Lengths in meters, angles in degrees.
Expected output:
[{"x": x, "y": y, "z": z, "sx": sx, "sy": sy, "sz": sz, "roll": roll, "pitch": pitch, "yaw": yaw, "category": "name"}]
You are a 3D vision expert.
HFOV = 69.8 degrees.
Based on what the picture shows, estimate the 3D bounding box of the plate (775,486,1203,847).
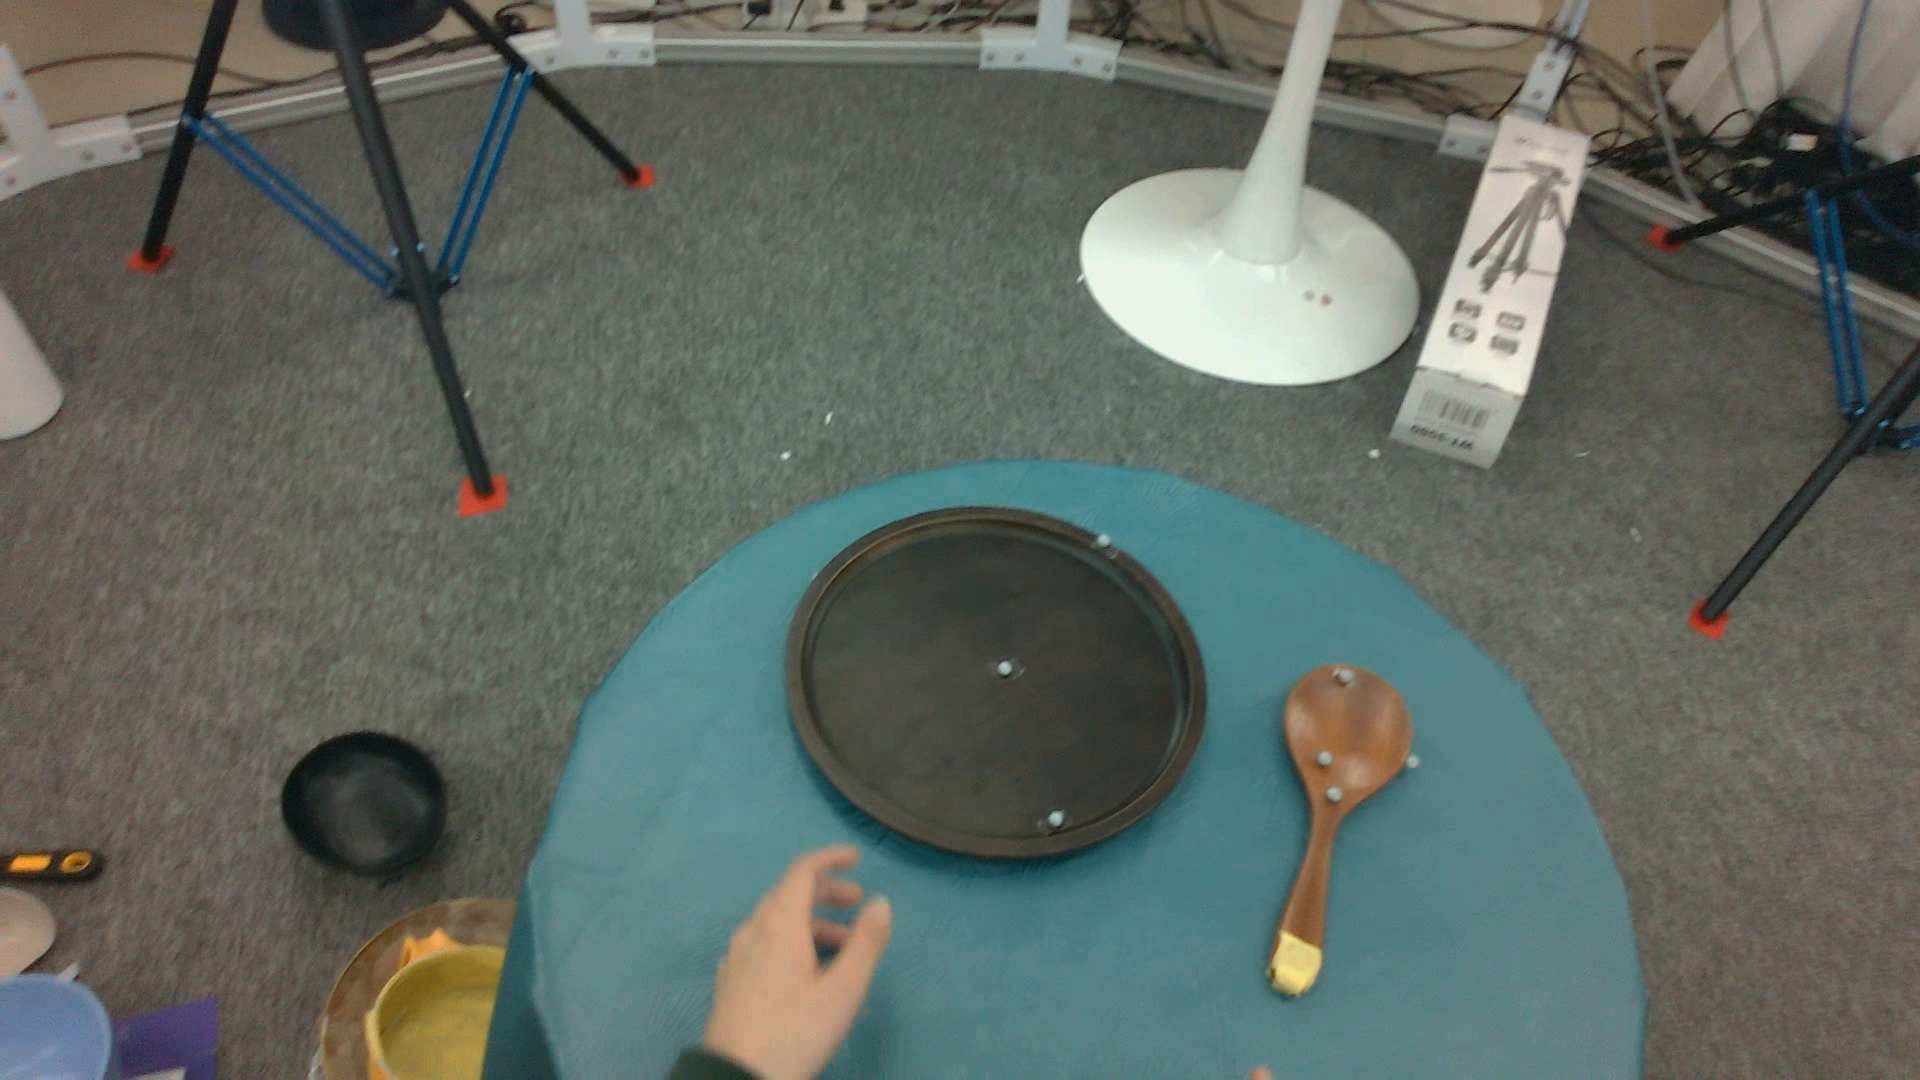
[{"x": 0.017, "y": 0.069, "z": 0.820, "sx": 0.255, "sy": 0.029, "sz": 0.256, "roll": 3, "pitch": 49, "yaw": -4, "category": "plate"}]

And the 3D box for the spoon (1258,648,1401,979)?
[{"x": 0.201, "y": 0.149, "z": 0.779, "sx": 0.075, "sy": 0.017, "sz": 0.217, "roll": 19, "pitch": 51, "yaw": 9, "category": "spoon"}]
